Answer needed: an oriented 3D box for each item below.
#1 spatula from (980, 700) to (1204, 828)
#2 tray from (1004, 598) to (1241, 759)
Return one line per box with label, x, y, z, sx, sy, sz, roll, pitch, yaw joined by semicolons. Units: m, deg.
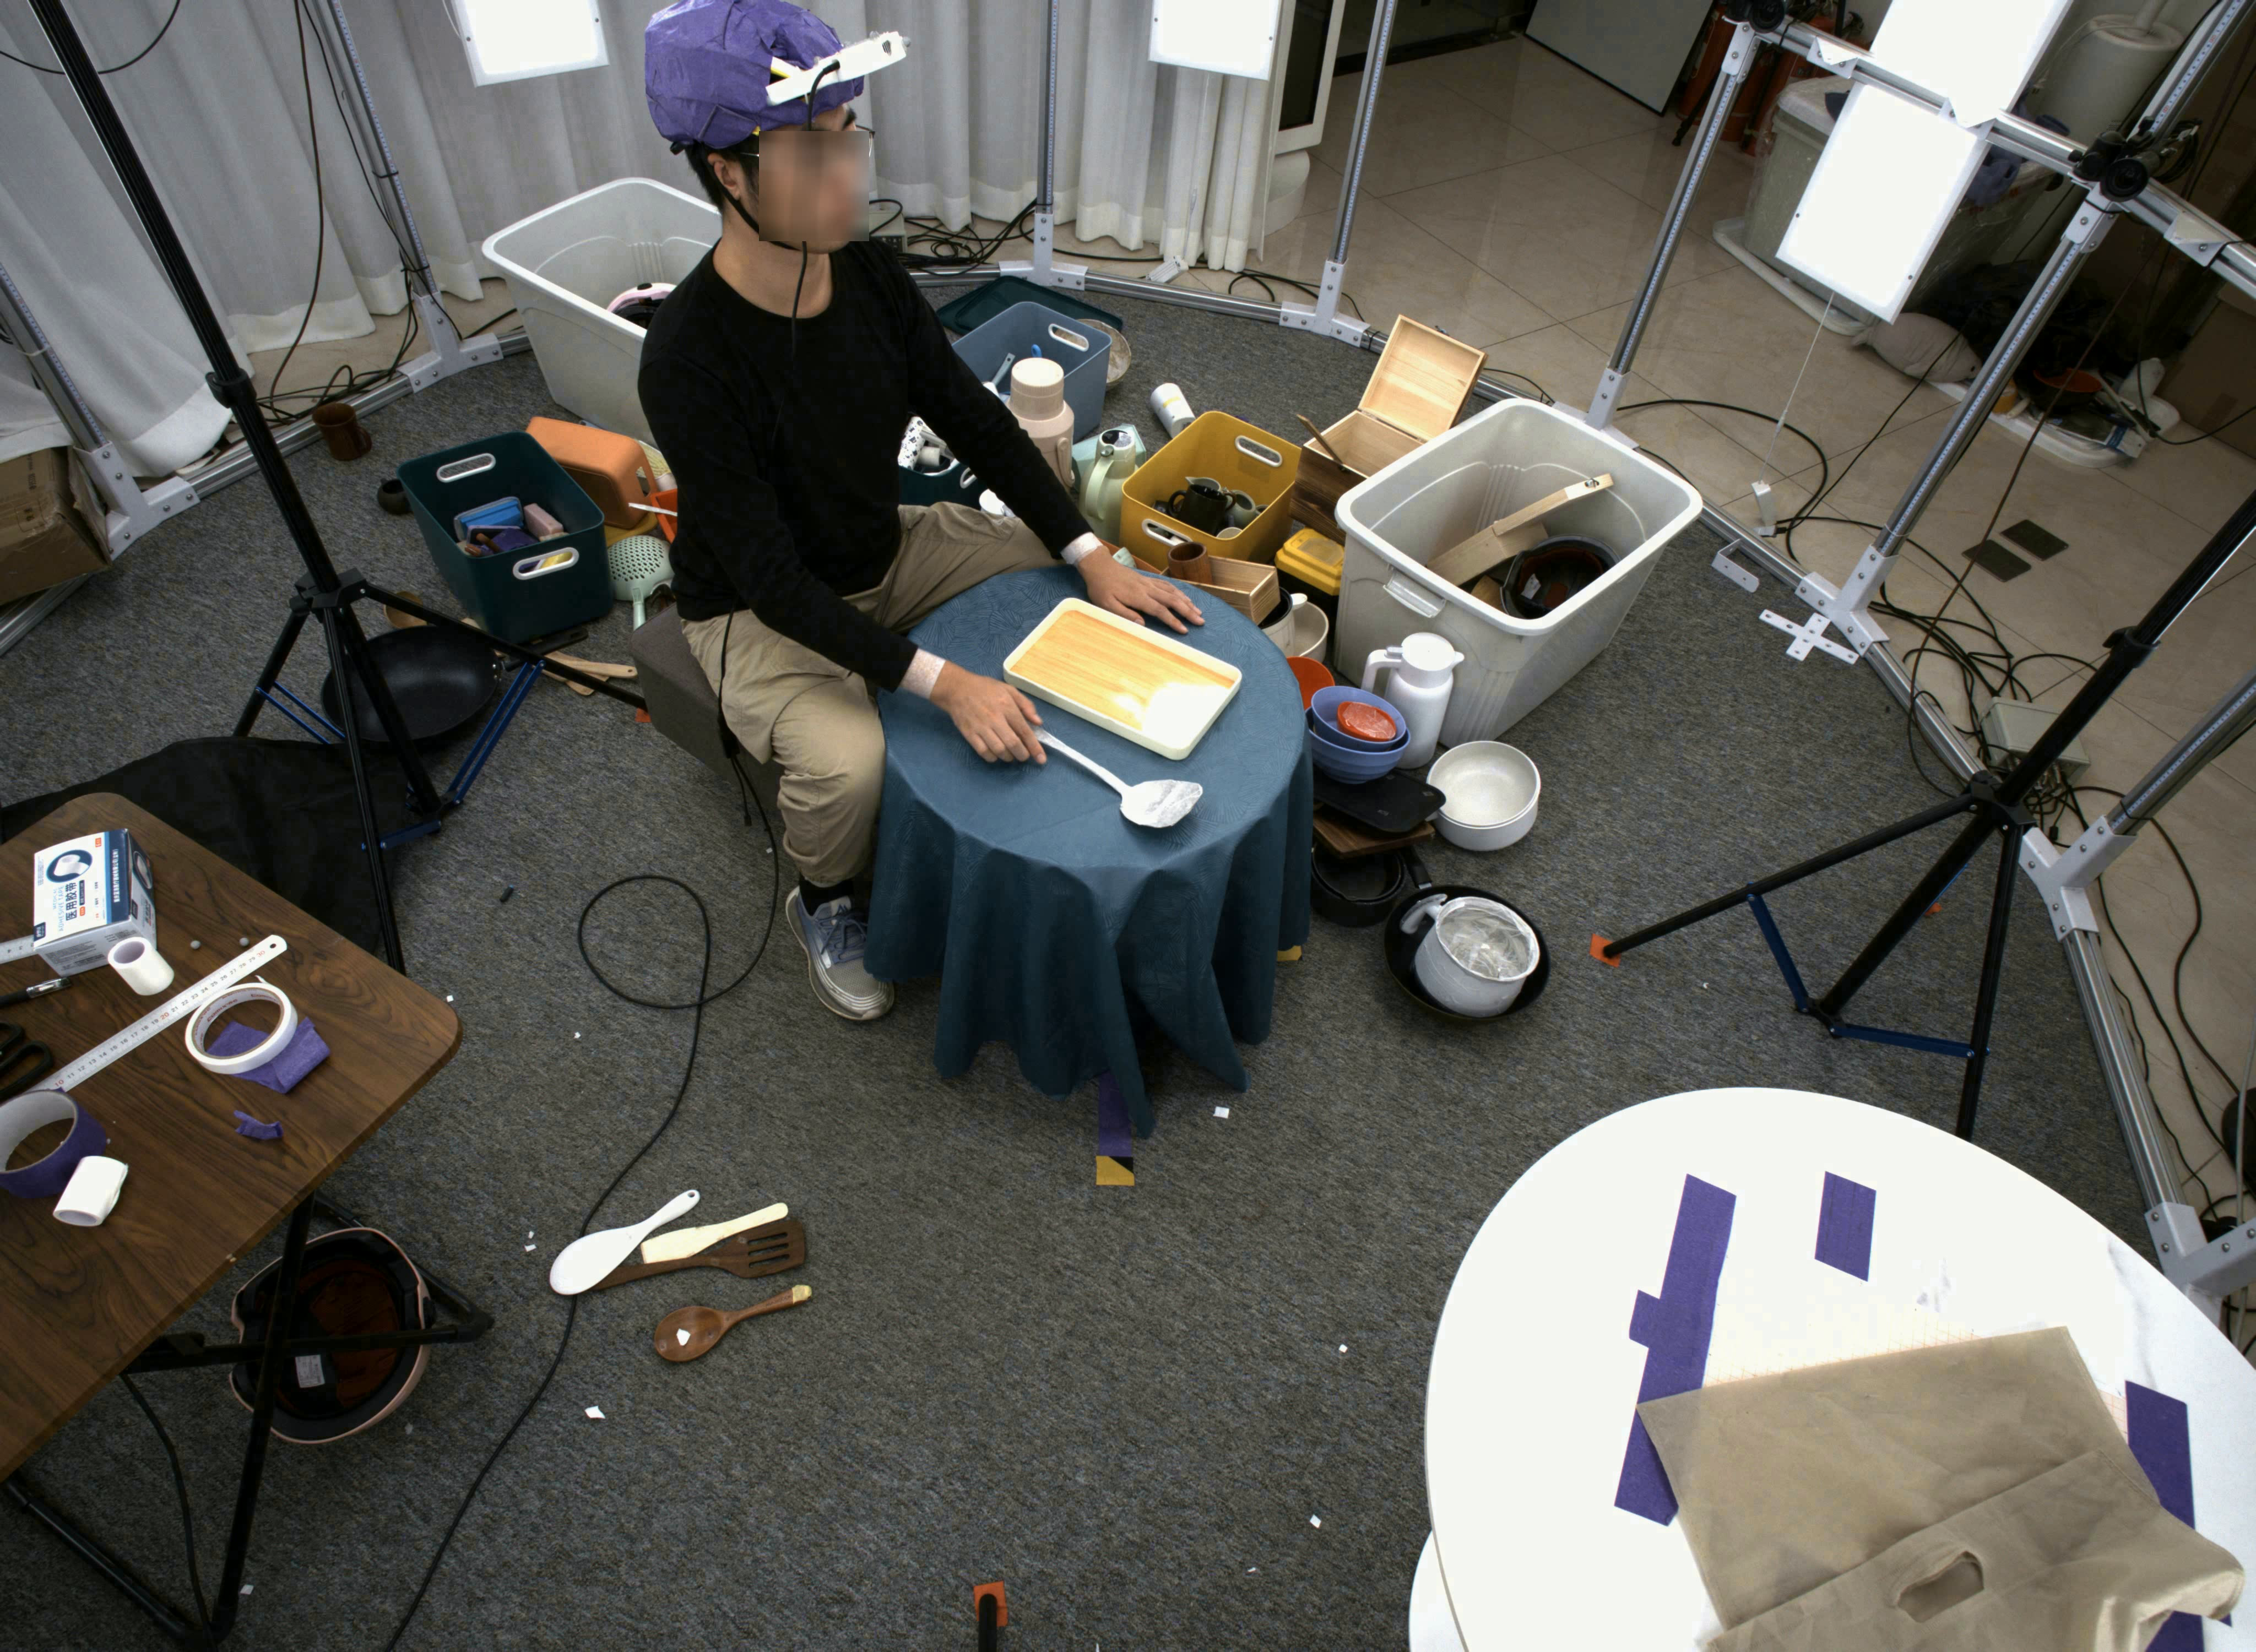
spatula;-0.066;-0.096;1.725;0.369;0.044;0.100;31;55;21
tray;-0.008;-0.216;1.839;0.303;0.027;0.194;26;52;18
